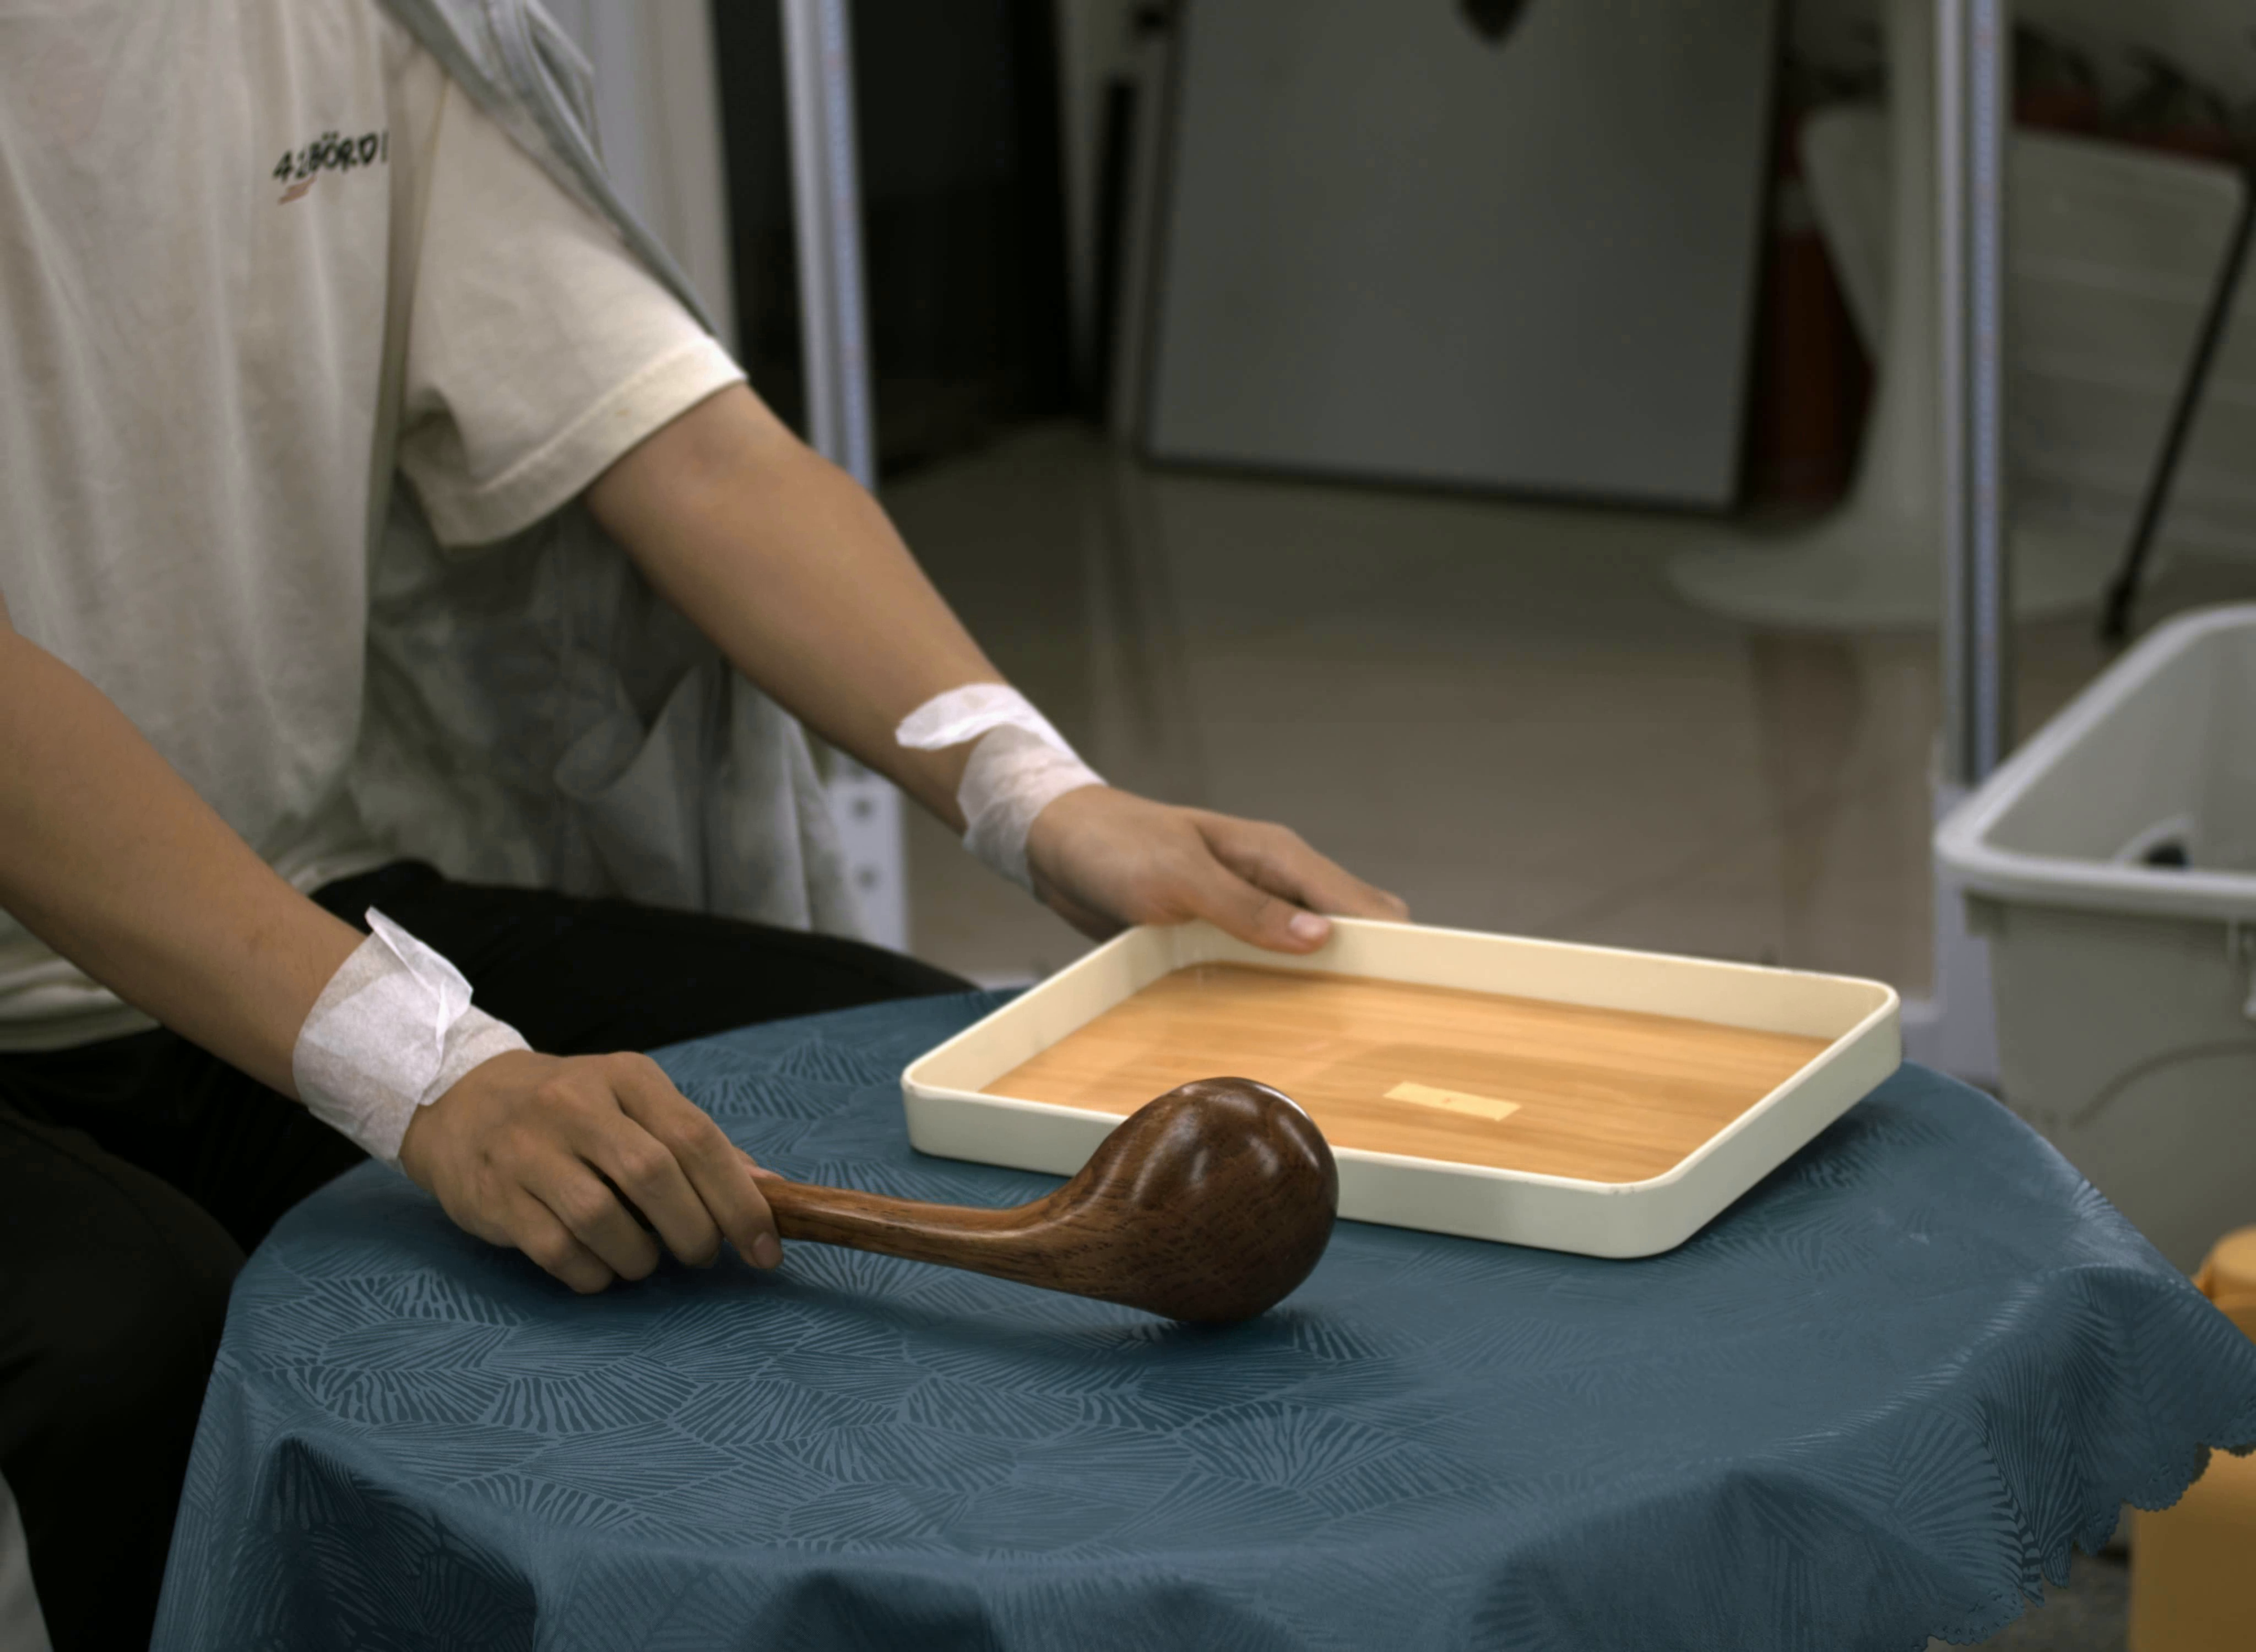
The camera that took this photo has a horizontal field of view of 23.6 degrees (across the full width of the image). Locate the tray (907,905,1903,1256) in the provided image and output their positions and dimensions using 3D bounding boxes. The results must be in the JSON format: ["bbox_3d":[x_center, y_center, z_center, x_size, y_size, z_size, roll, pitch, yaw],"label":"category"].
[{"bbox_3d":[0.093,0.082,1.815,0.302,0.027,0.188,6,22,35],"label":"tray"}]

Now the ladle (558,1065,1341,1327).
[{"bbox_3d":[-0.057,0.113,1.692,0.276,0.082,0.075,1,27,39],"label":"ladle"}]
